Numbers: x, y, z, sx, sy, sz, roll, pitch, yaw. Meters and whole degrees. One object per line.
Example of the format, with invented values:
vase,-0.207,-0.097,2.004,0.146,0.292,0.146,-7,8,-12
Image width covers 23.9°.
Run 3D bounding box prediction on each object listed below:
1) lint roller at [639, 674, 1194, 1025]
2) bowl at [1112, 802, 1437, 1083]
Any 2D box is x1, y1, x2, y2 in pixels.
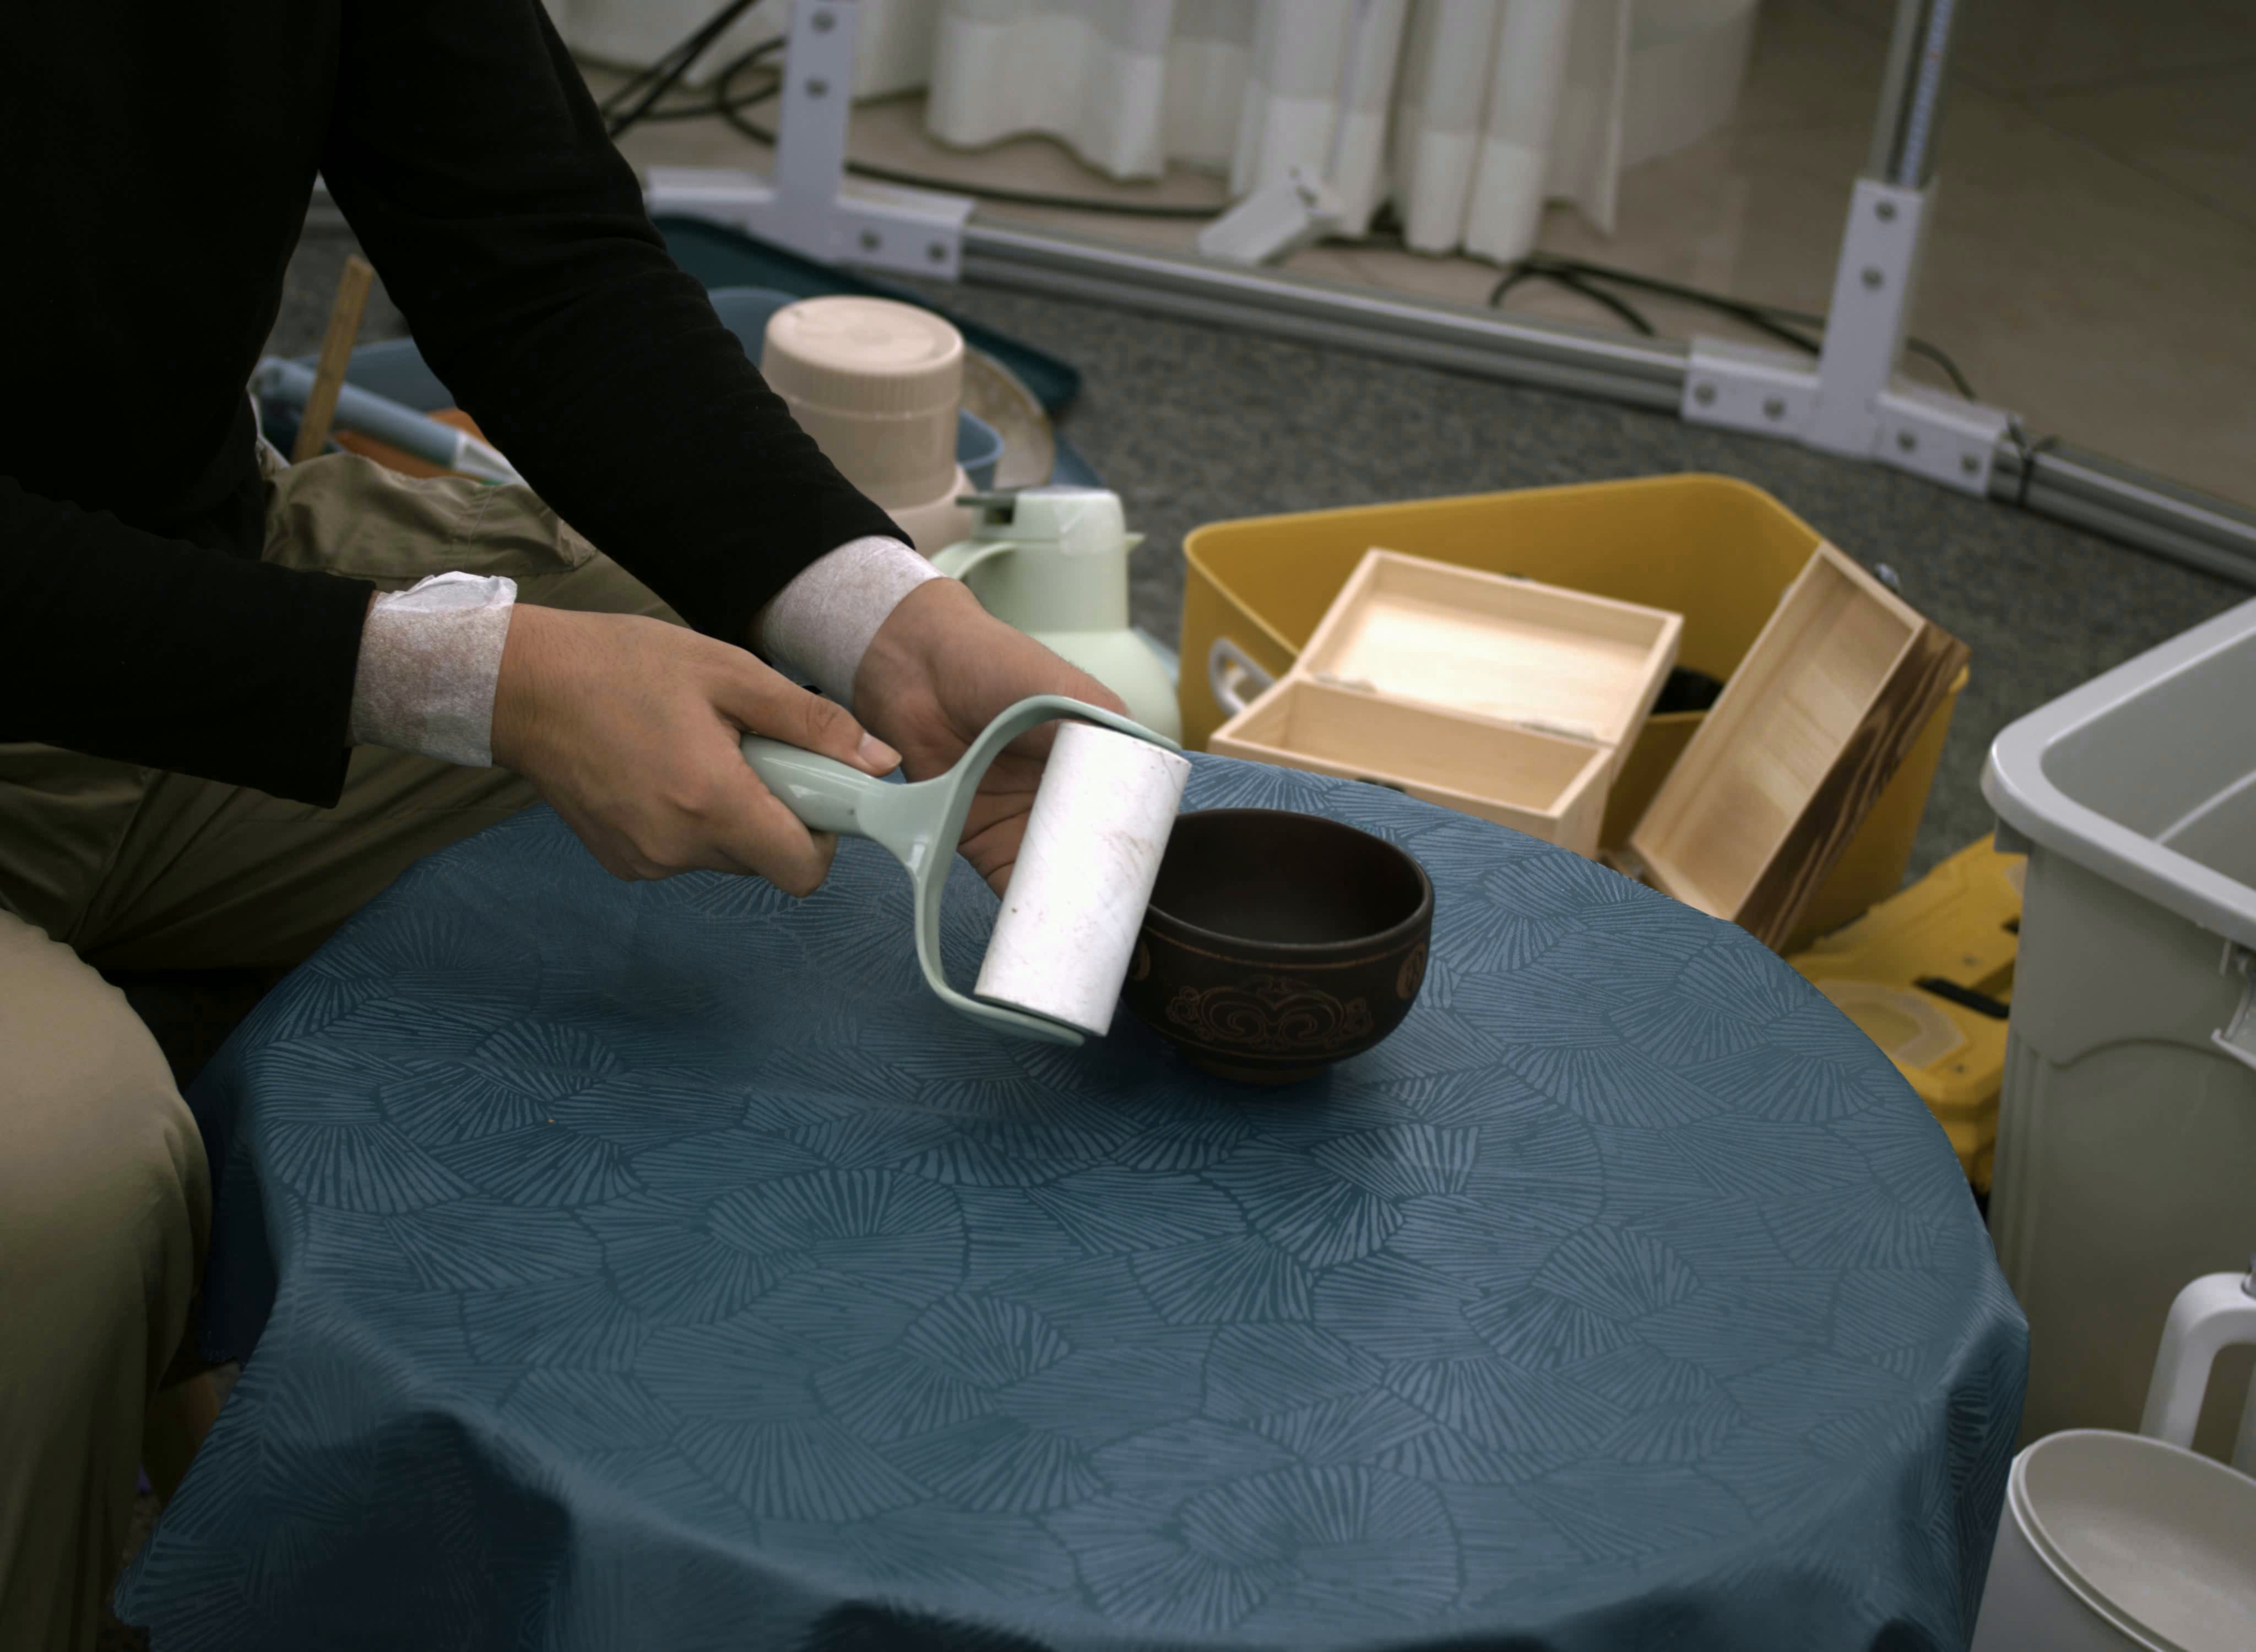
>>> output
lint roller,-0.081,-0.009,1.847,0.198,0.117,0.048,16,-6,14
bowl,0.049,0.047,1.882,0.117,0.069,0.119,3,26,-2
